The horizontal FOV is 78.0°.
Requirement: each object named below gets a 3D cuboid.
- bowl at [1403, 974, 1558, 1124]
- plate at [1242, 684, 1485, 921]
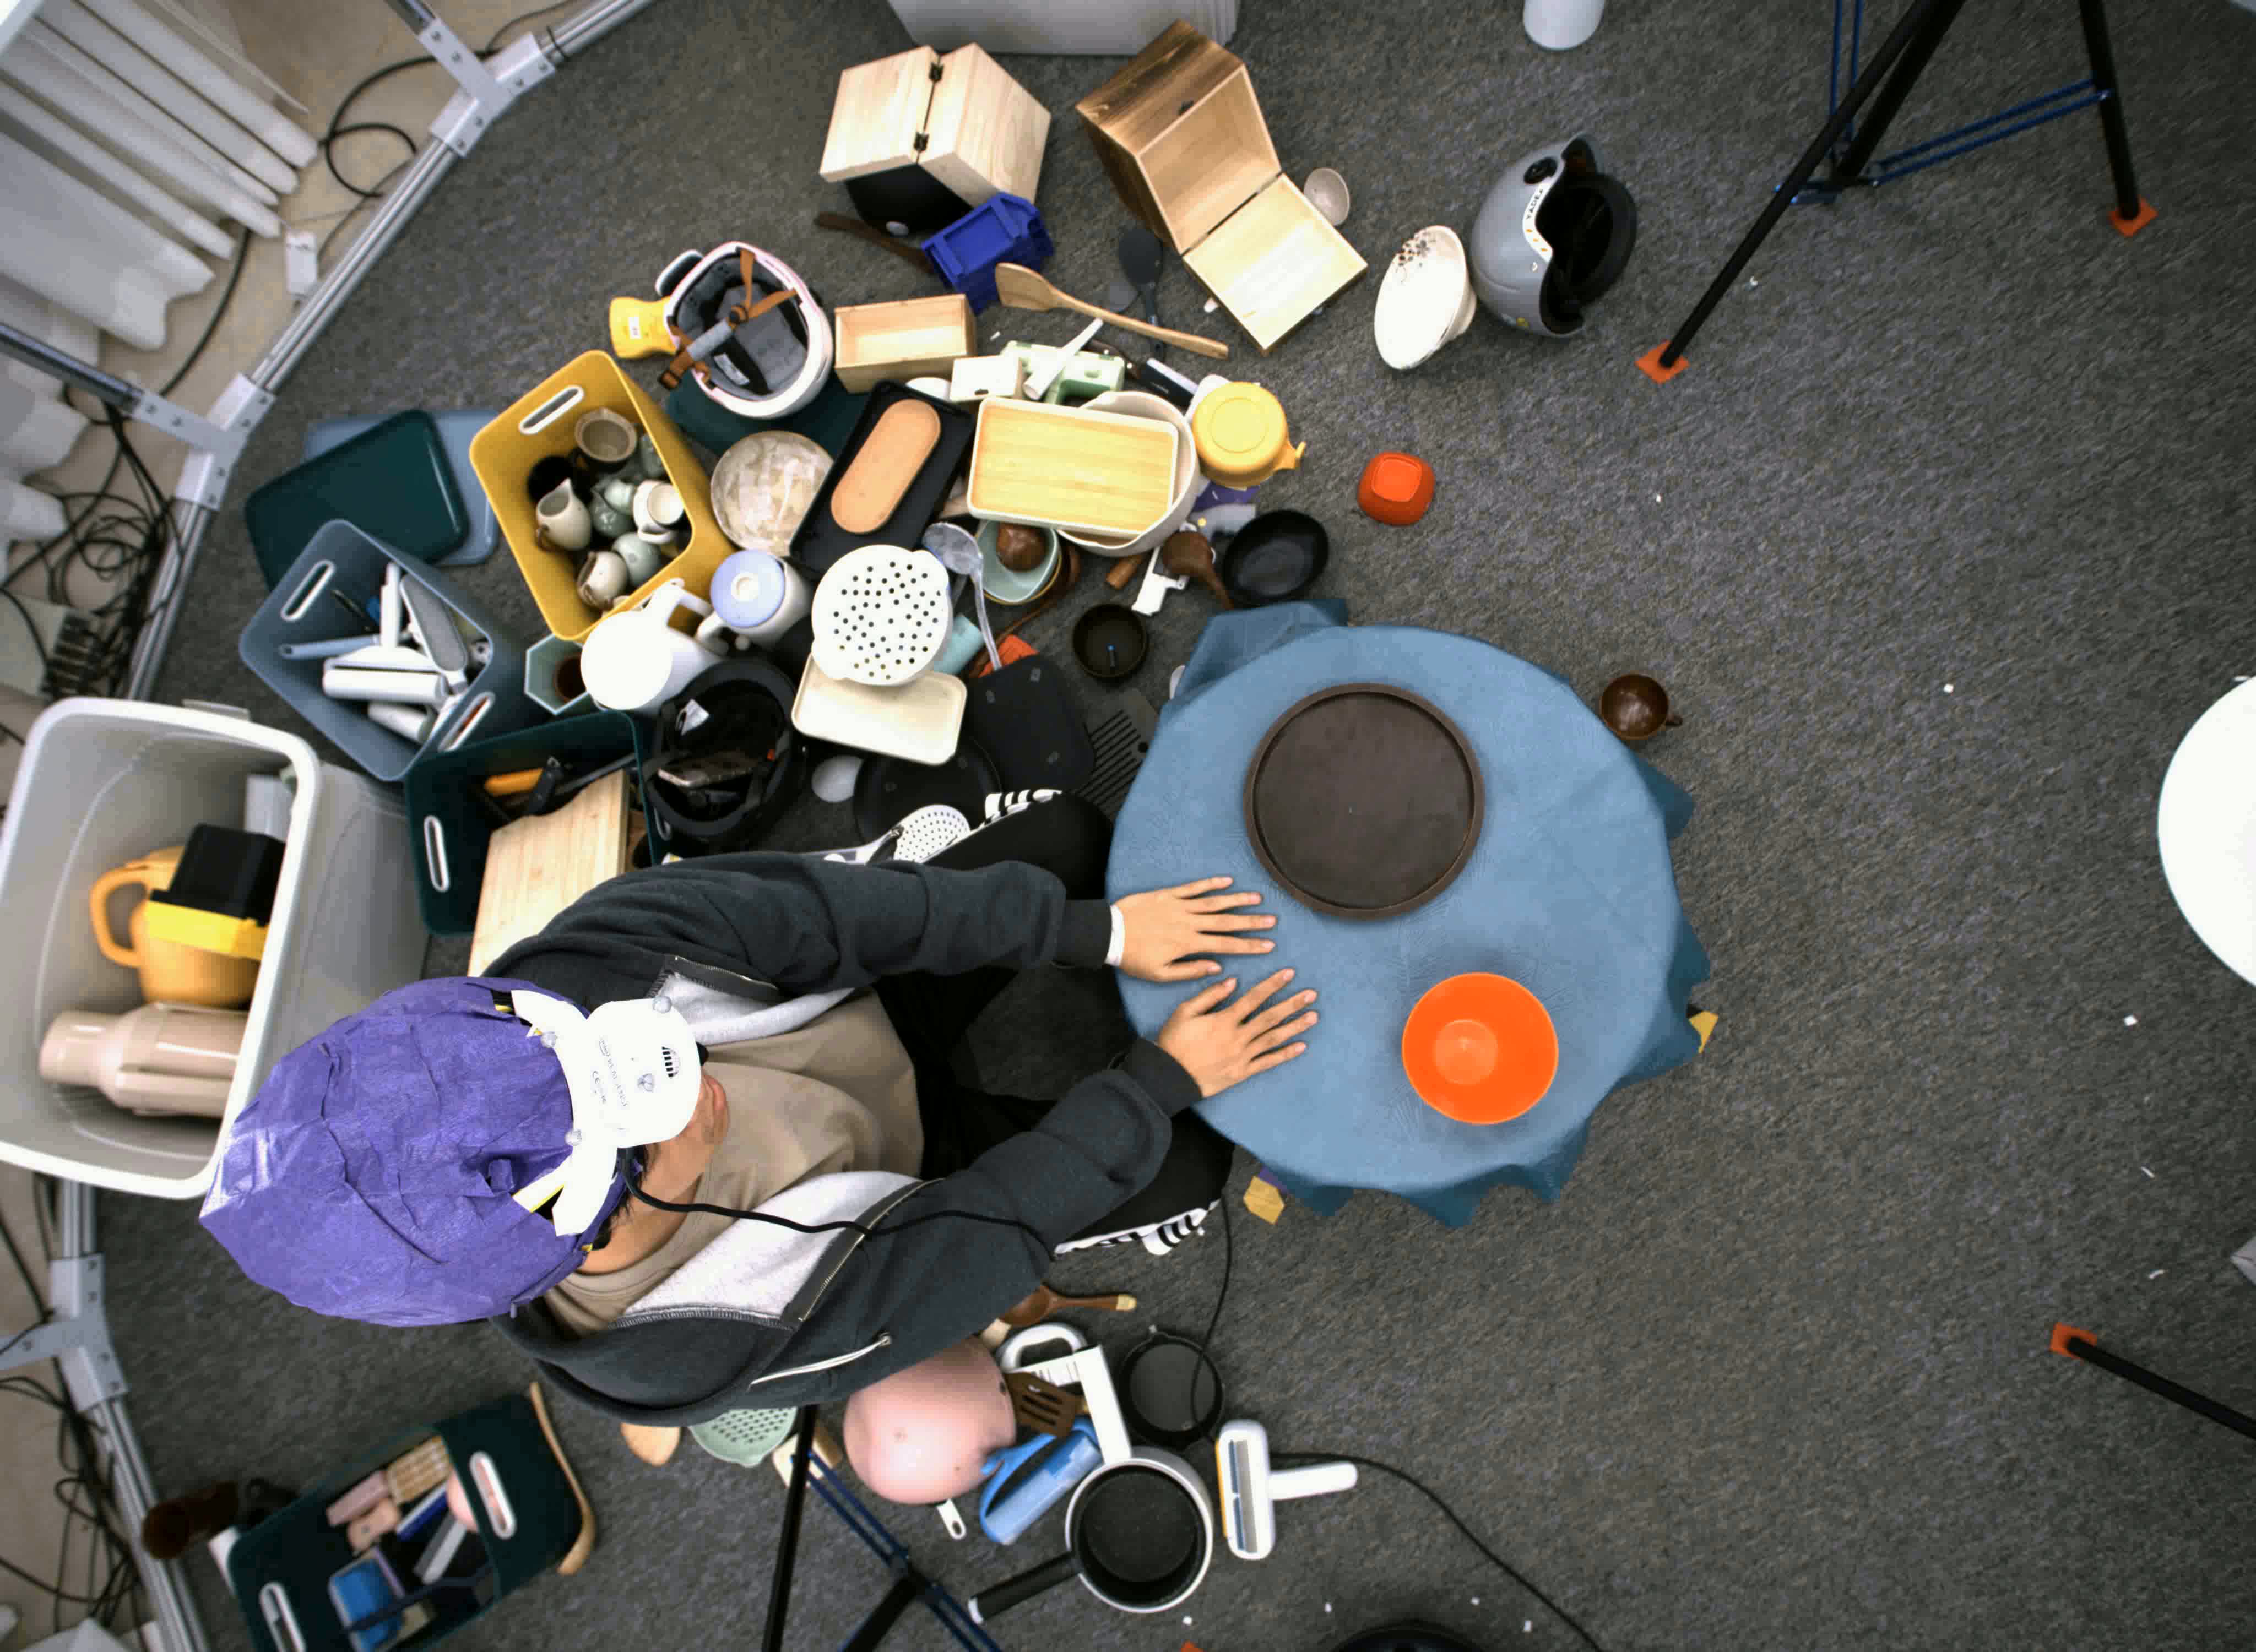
[{"bbox_3d":[0.349,0.219,1.385,0.148,0.104,0.147,0,87,8],"label":"bowl"},{"bbox_3d":[0.248,-0.027,1.457,0.256,0.029,0.254,-1,88,10],"label":"plate"}]
